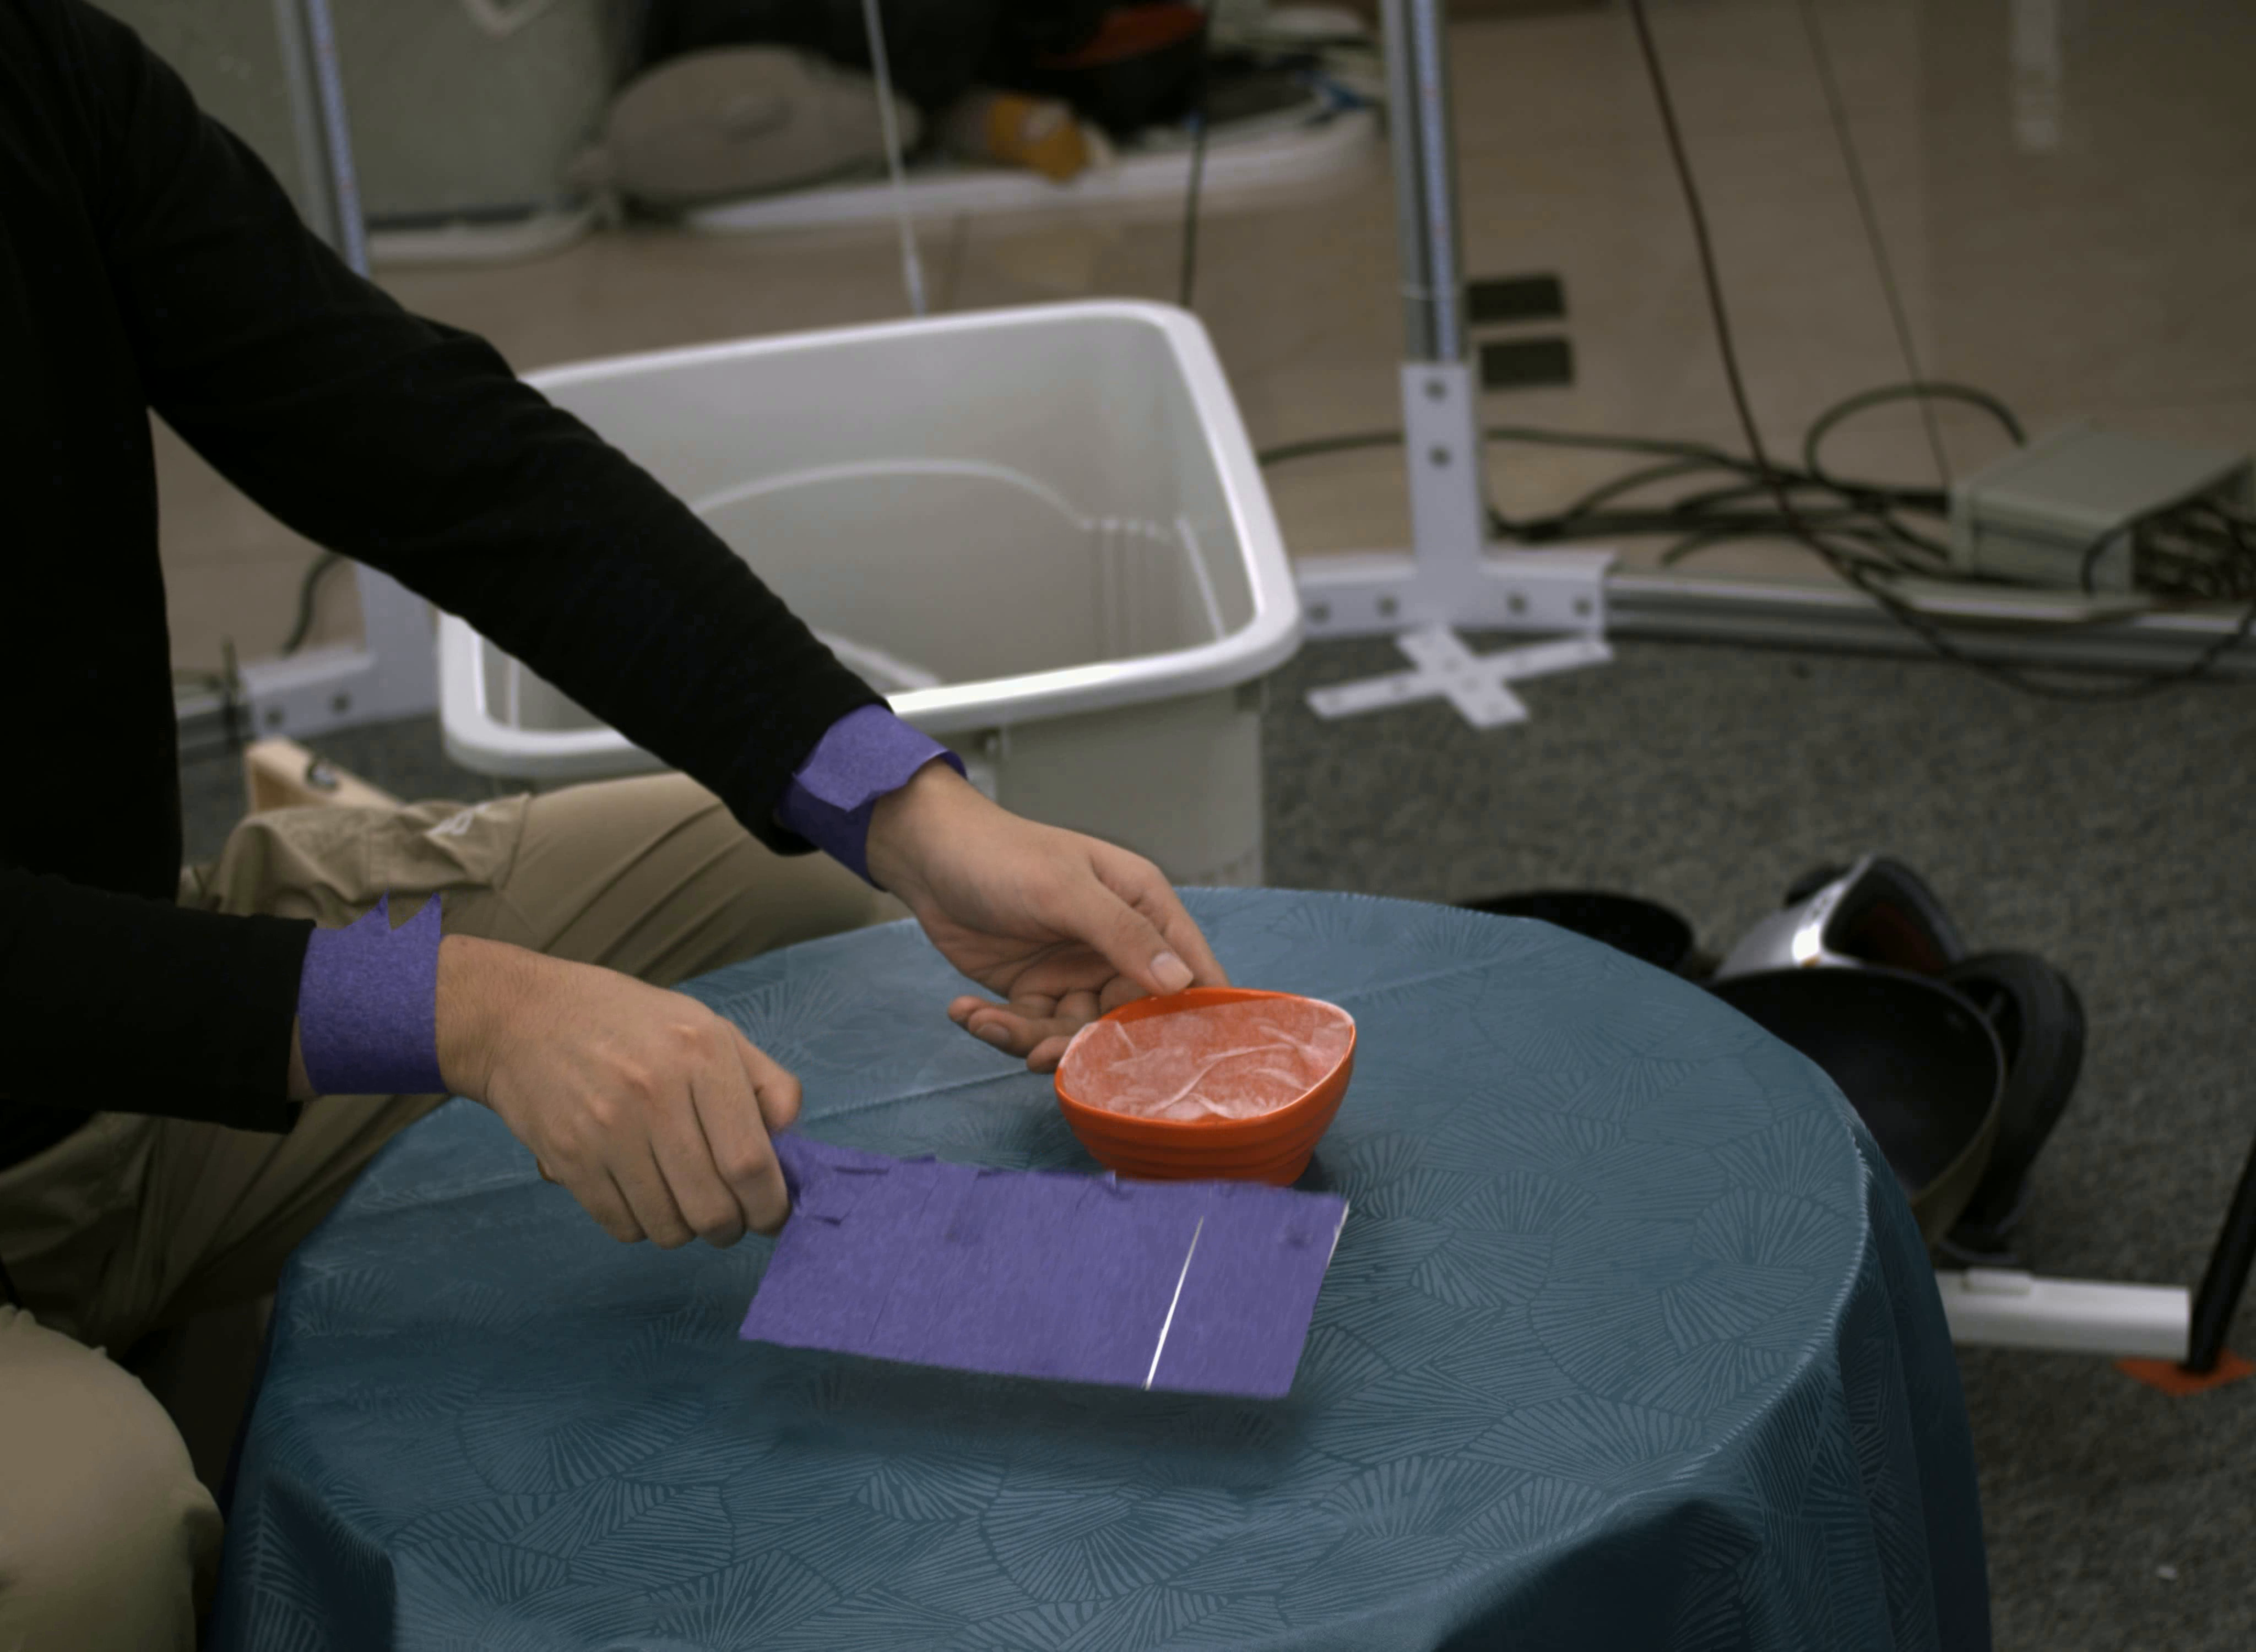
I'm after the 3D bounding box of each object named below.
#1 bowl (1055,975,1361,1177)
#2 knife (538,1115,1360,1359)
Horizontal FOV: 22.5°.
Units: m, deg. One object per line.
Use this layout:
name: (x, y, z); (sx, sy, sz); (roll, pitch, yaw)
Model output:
bowl: (0.032, 0.105, 2.147); (0.119, 0.052, 0.117); (-3, 28, 1)
knife: (-0.076, 0.146, 2.018); (0.314, 0.033, 0.102); (1, 46, 22)
